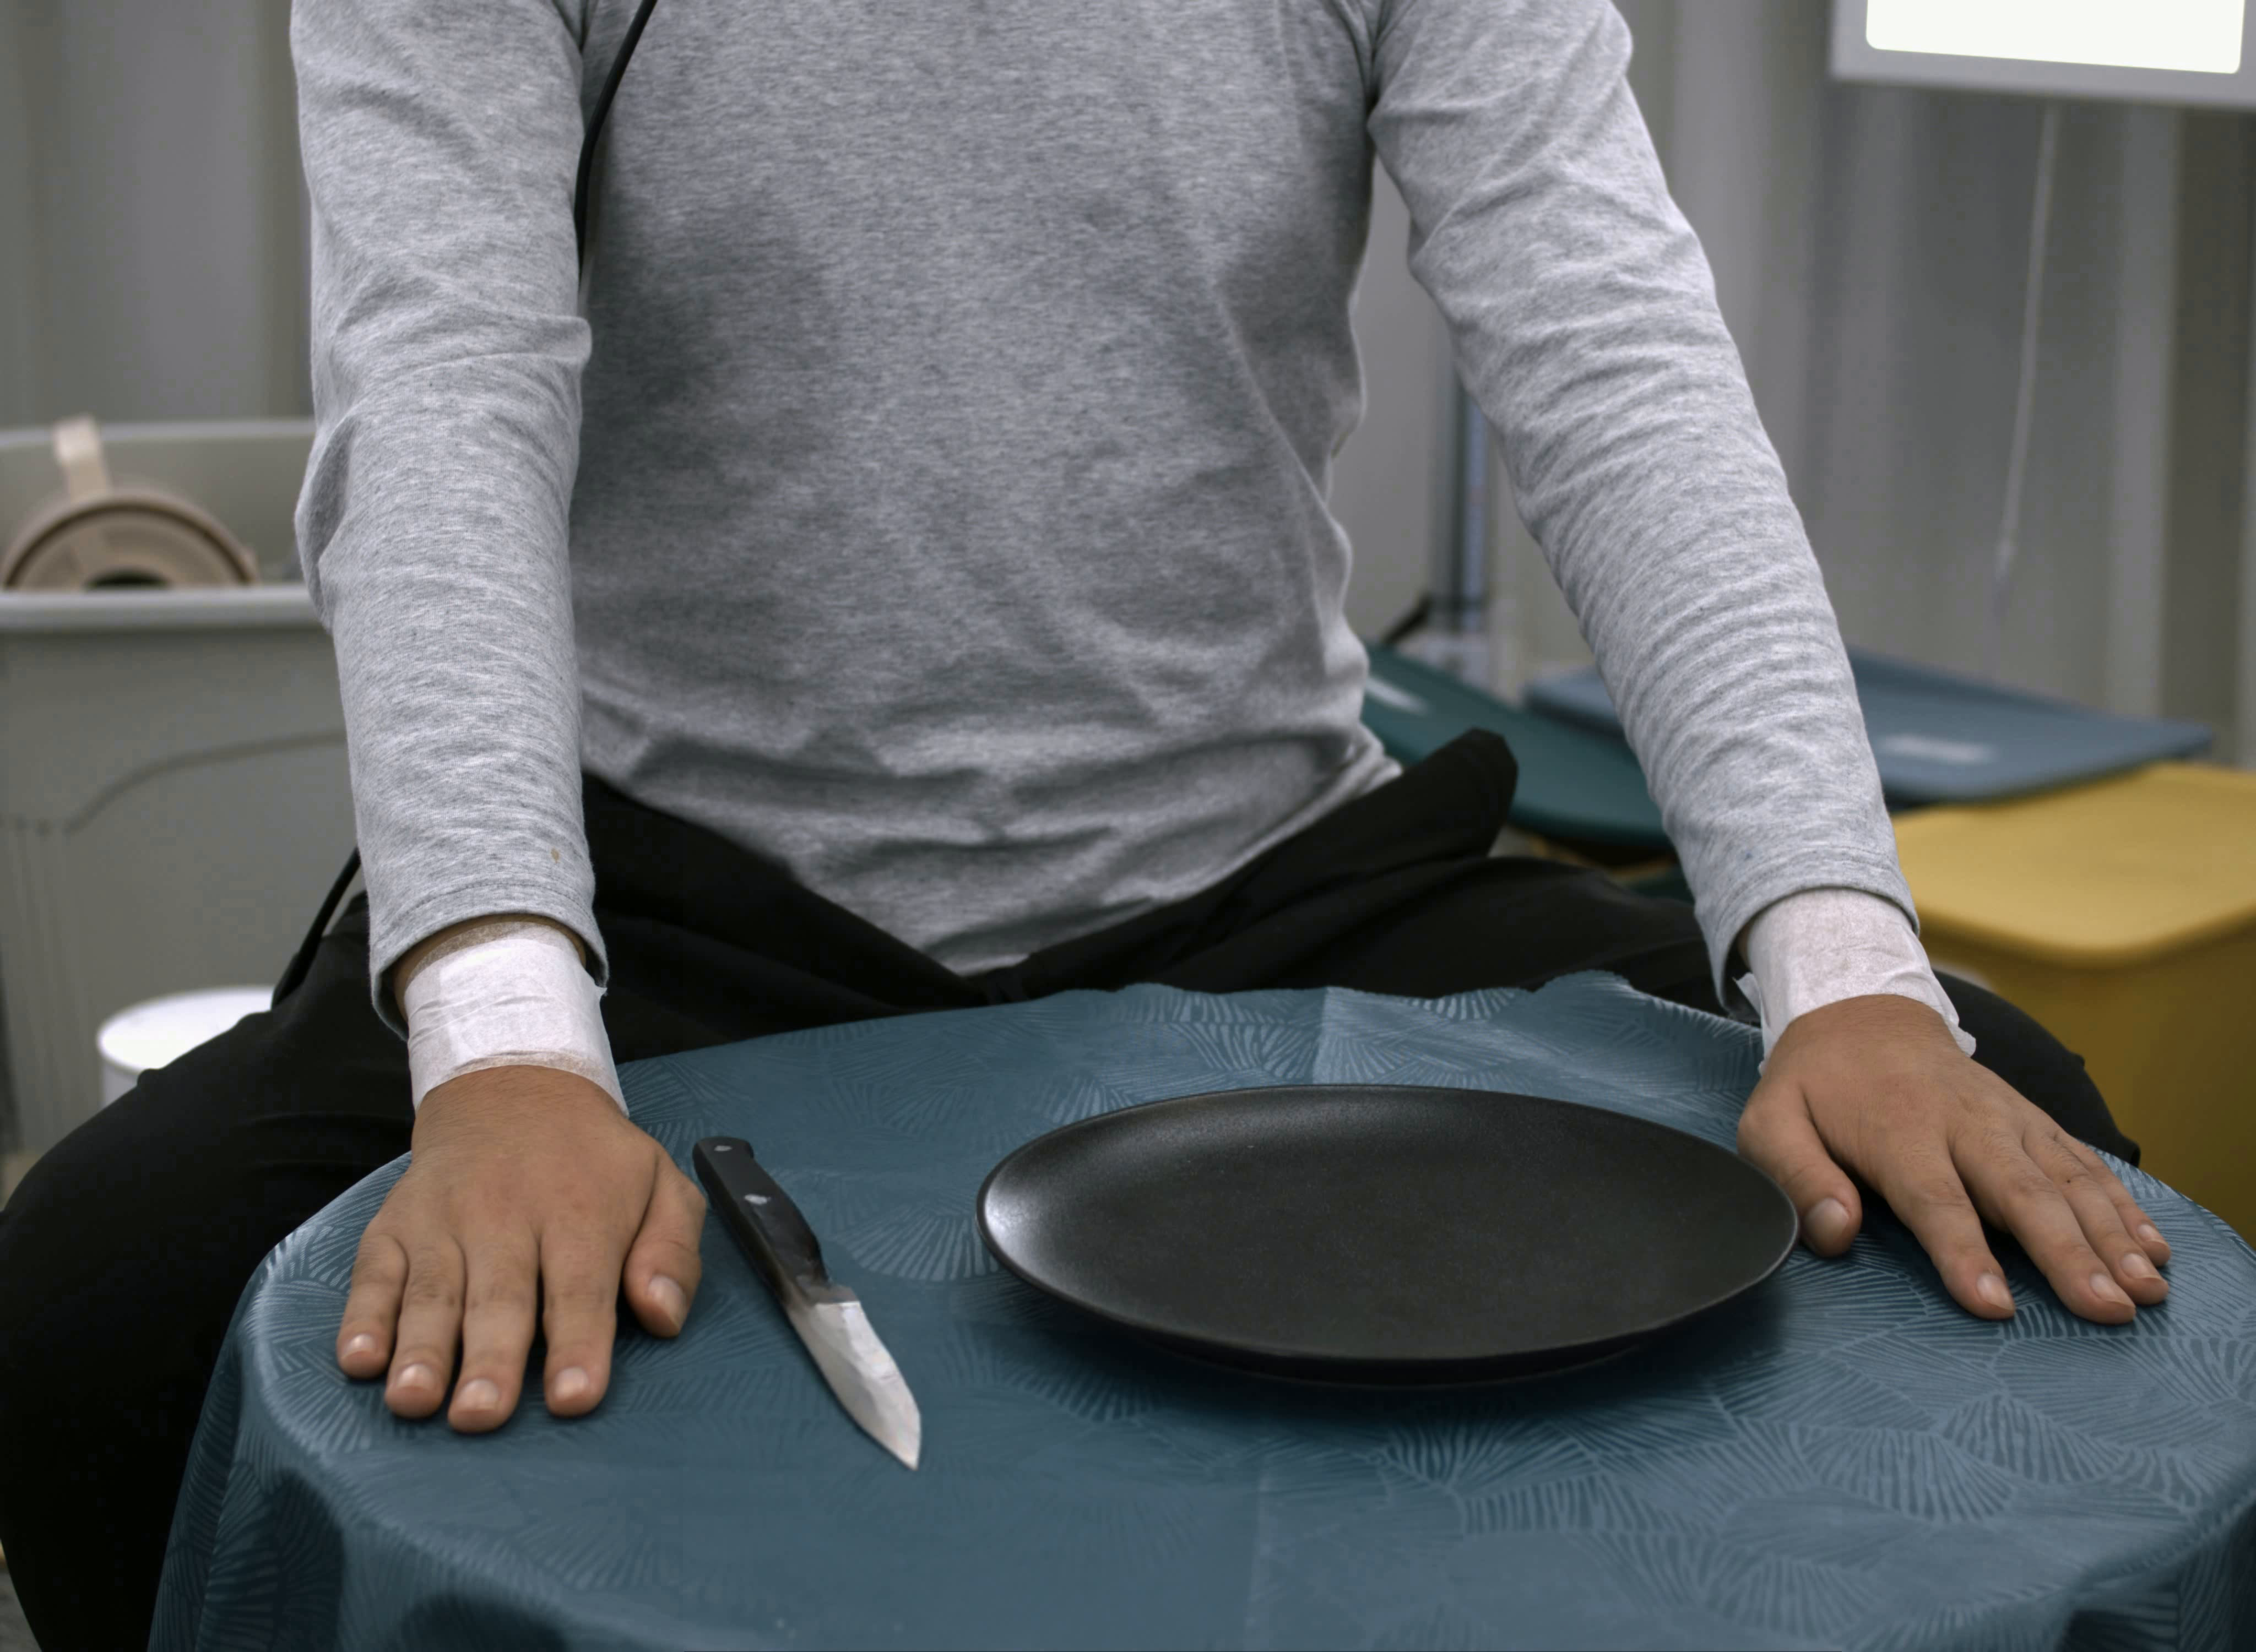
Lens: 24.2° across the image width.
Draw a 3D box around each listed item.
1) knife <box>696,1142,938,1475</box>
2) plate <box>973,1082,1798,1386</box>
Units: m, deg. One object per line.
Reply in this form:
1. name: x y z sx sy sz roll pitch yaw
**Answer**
1. knife: -0.091 0.138 1.510 0.024 0.016 0.235 -4 19 -17
2. plate: 0.075 0.122 1.550 0.243 0.023 0.243 1 15 0
